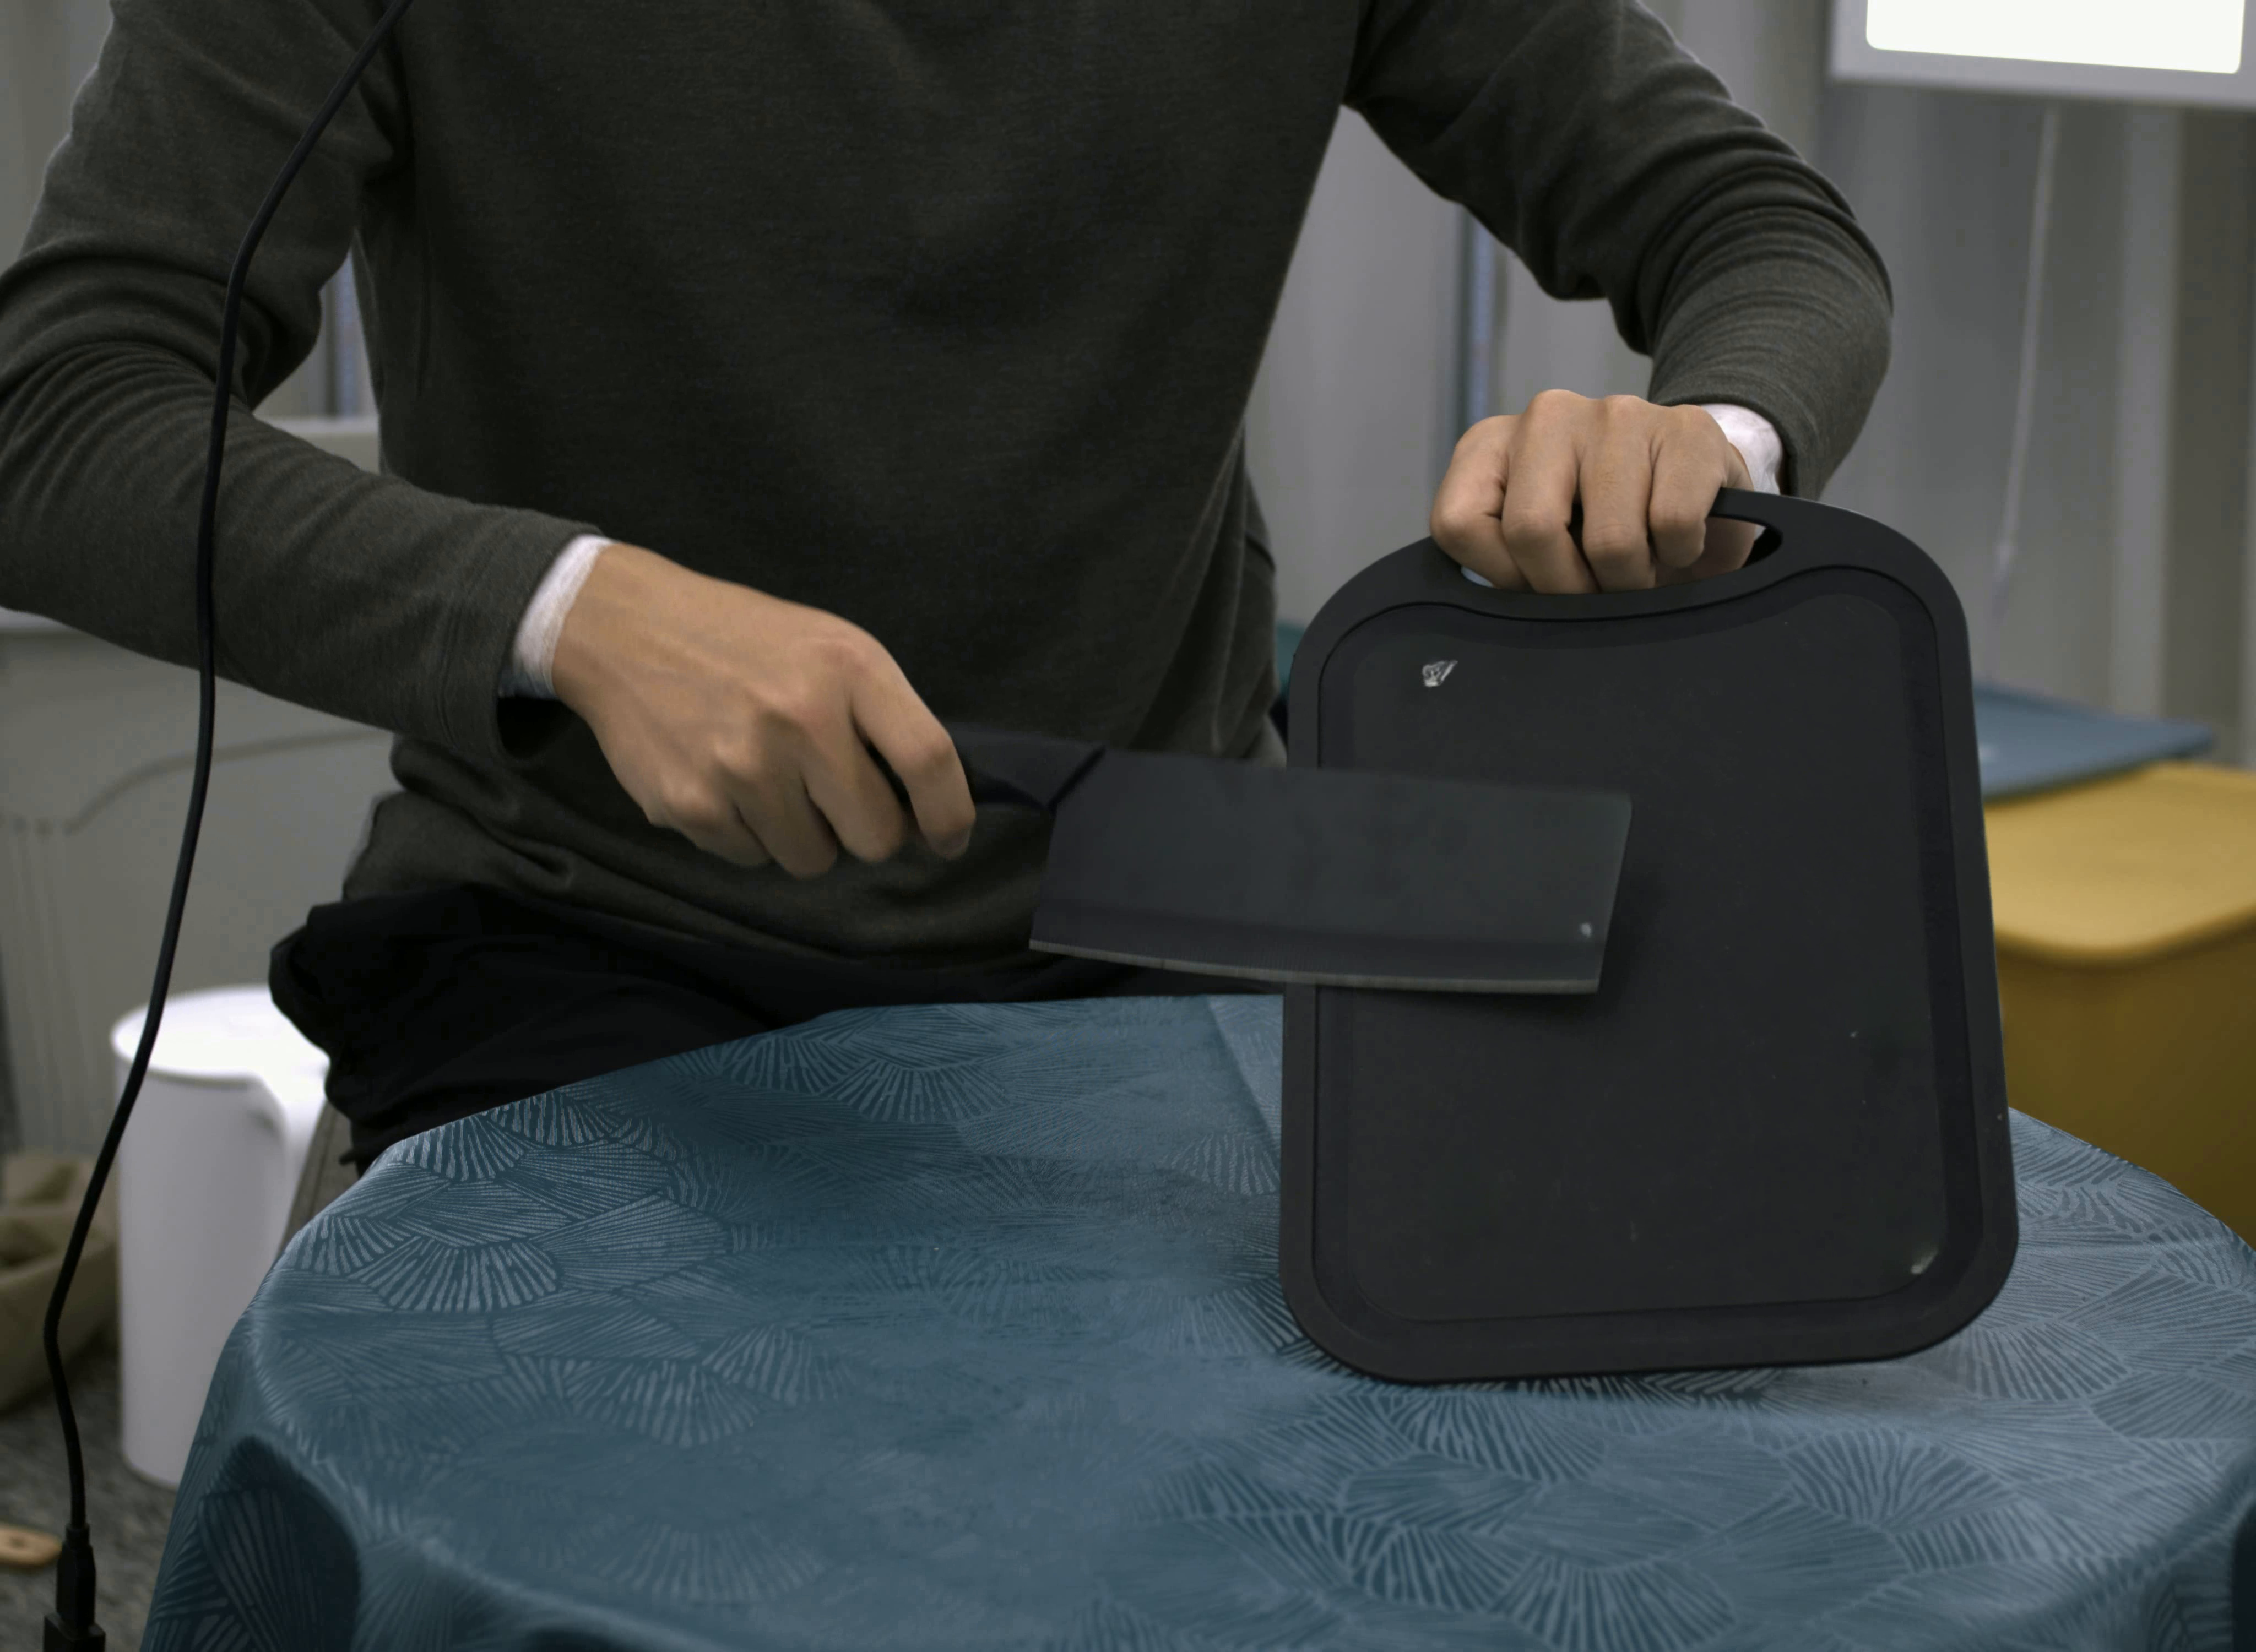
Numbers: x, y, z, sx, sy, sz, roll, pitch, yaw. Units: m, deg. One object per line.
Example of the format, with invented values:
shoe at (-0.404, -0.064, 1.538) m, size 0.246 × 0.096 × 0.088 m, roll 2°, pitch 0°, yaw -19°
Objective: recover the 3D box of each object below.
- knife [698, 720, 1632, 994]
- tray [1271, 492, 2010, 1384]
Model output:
knife at (0.006, 0.007, 1.589) m, size 0.299 × 0.081 × 0.021 m, roll 10°, pitch -19°, yaw 23°
tray at (0.148, 0.023, 1.557) m, size 0.210 × 0.010 × 0.323 m, roll -3°, pitch 52°, yaw 8°
